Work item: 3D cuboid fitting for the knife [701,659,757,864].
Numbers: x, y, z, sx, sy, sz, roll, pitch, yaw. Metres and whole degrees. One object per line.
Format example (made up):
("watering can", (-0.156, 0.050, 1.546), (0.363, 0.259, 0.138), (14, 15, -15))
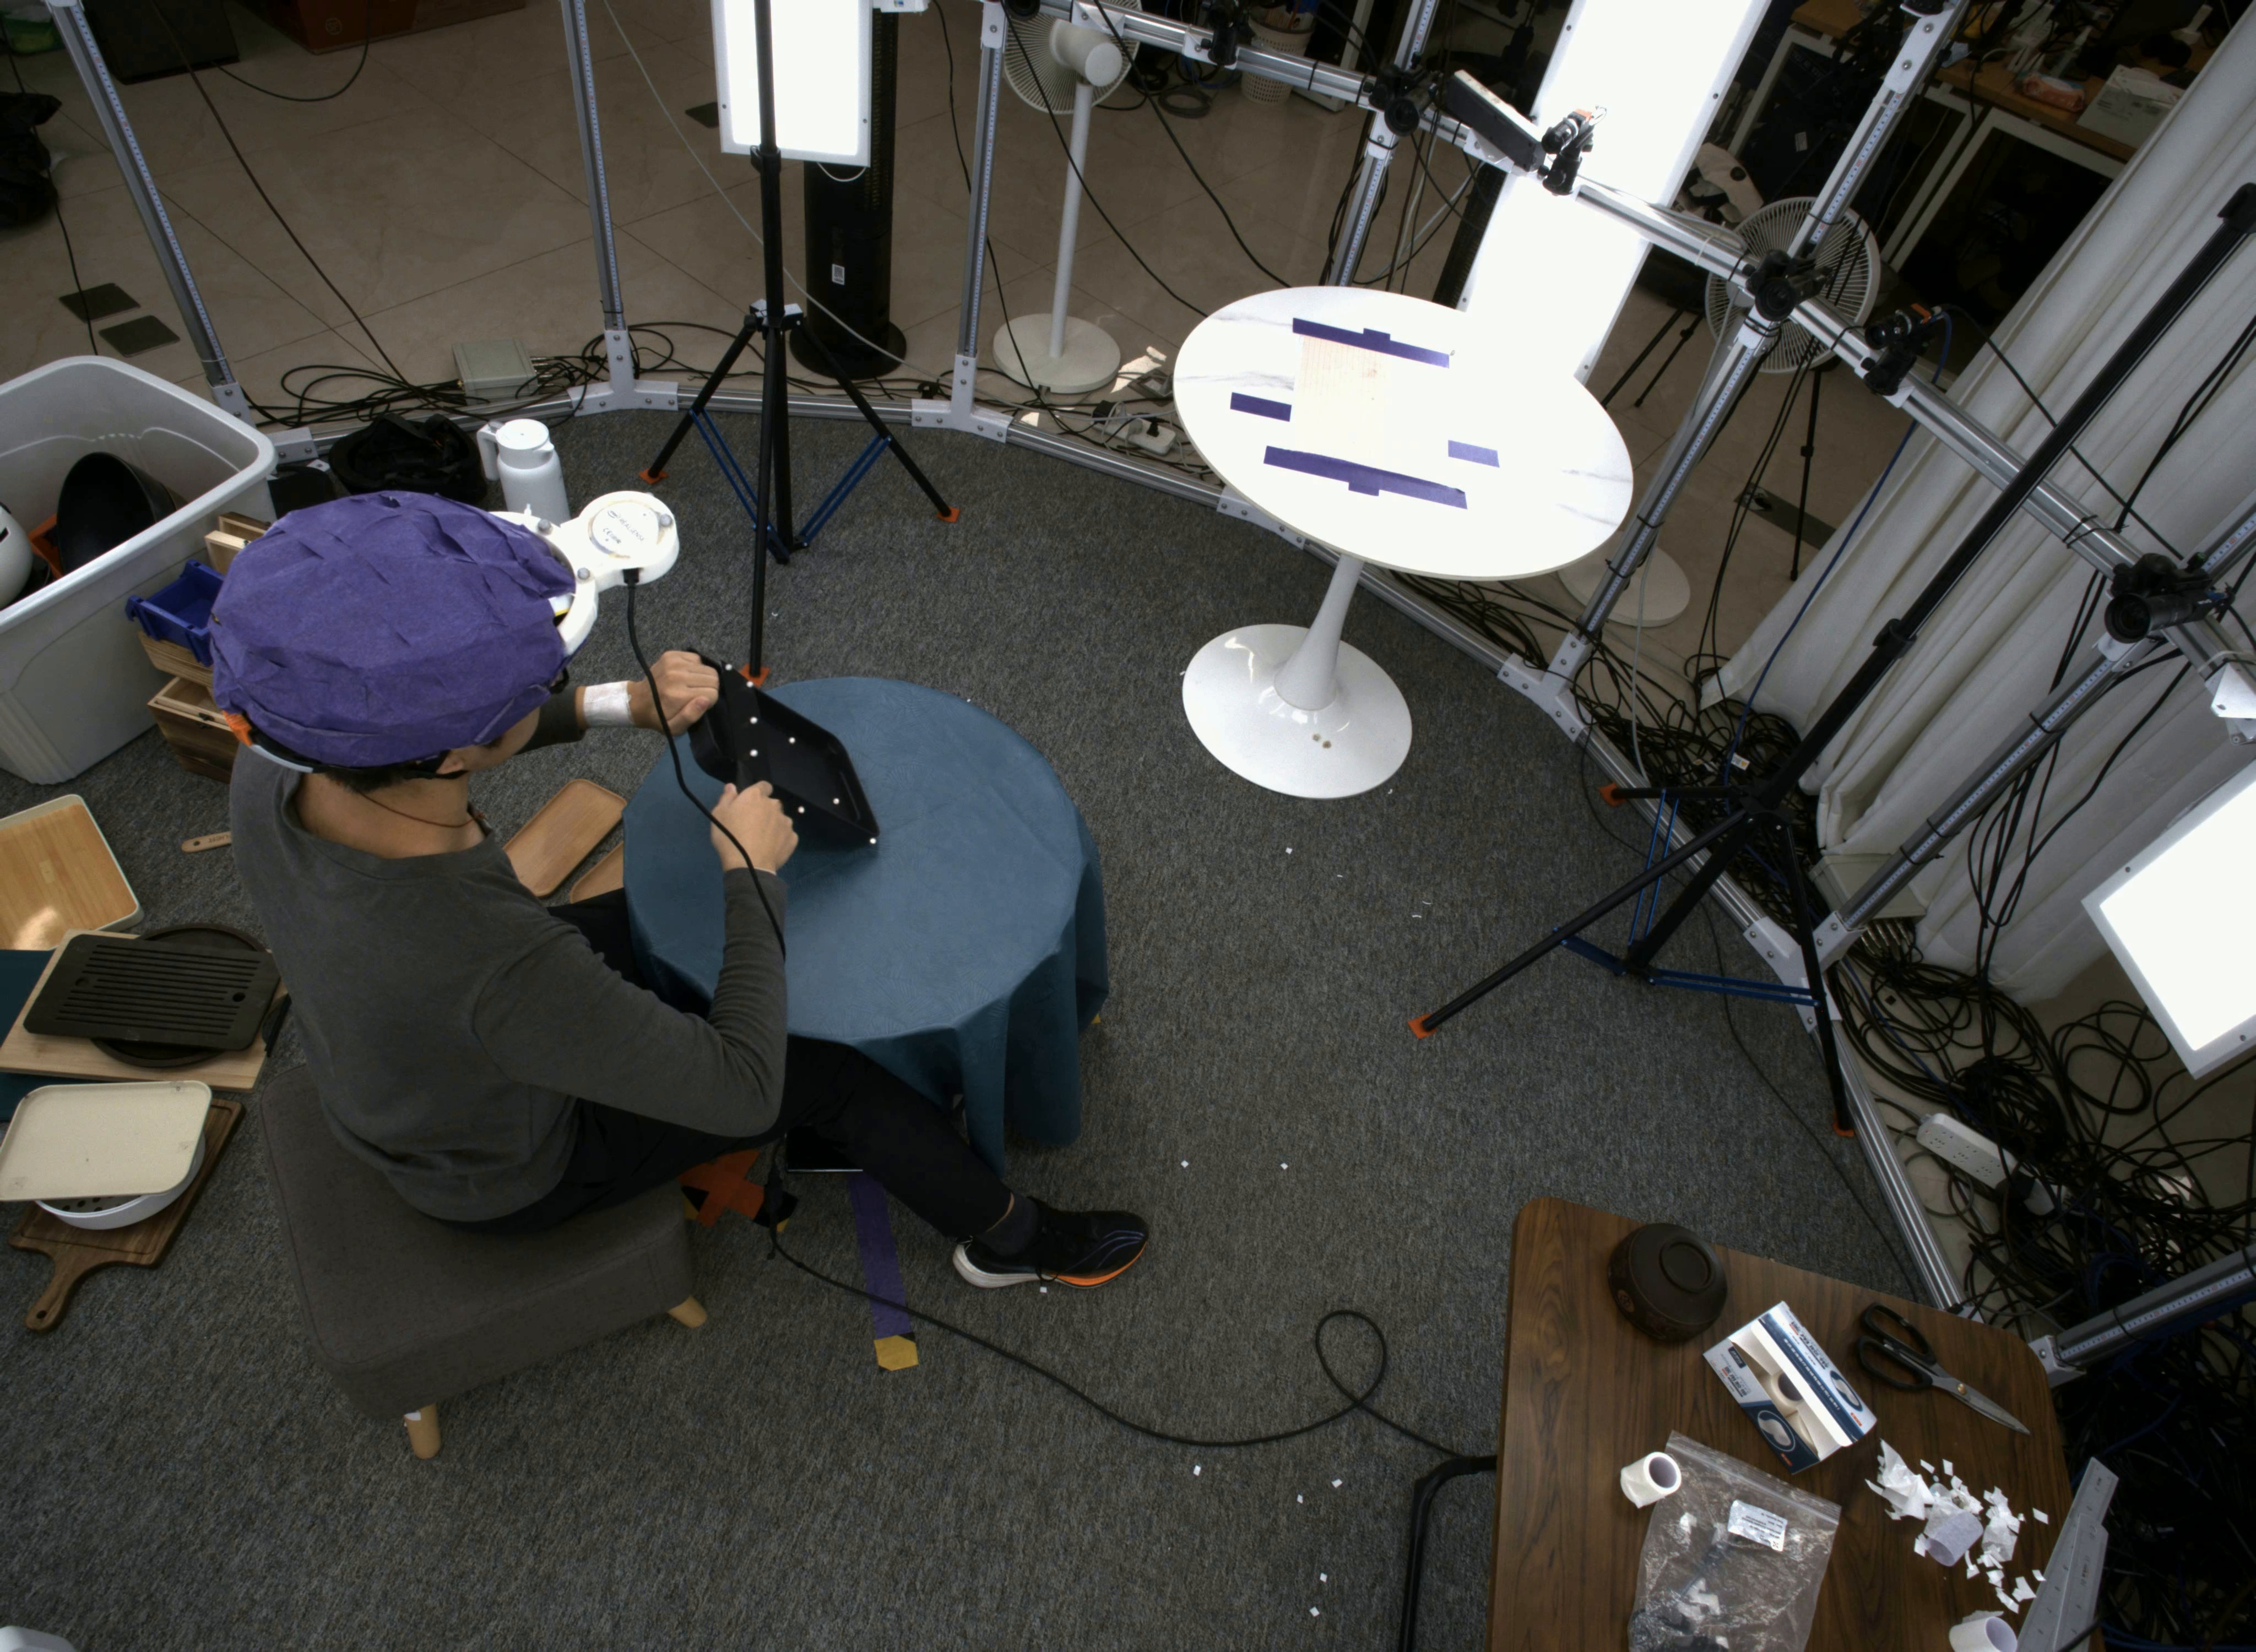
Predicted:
("knife", (-0.459, -0.078, 1.500), (0.020, 0.084, 0.294), (-30, 52, 12))

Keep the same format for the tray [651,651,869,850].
("tray", (-0.460, -0.088, 1.627), (0.037, 0.327, 0.180), (-36, 62, 11))
